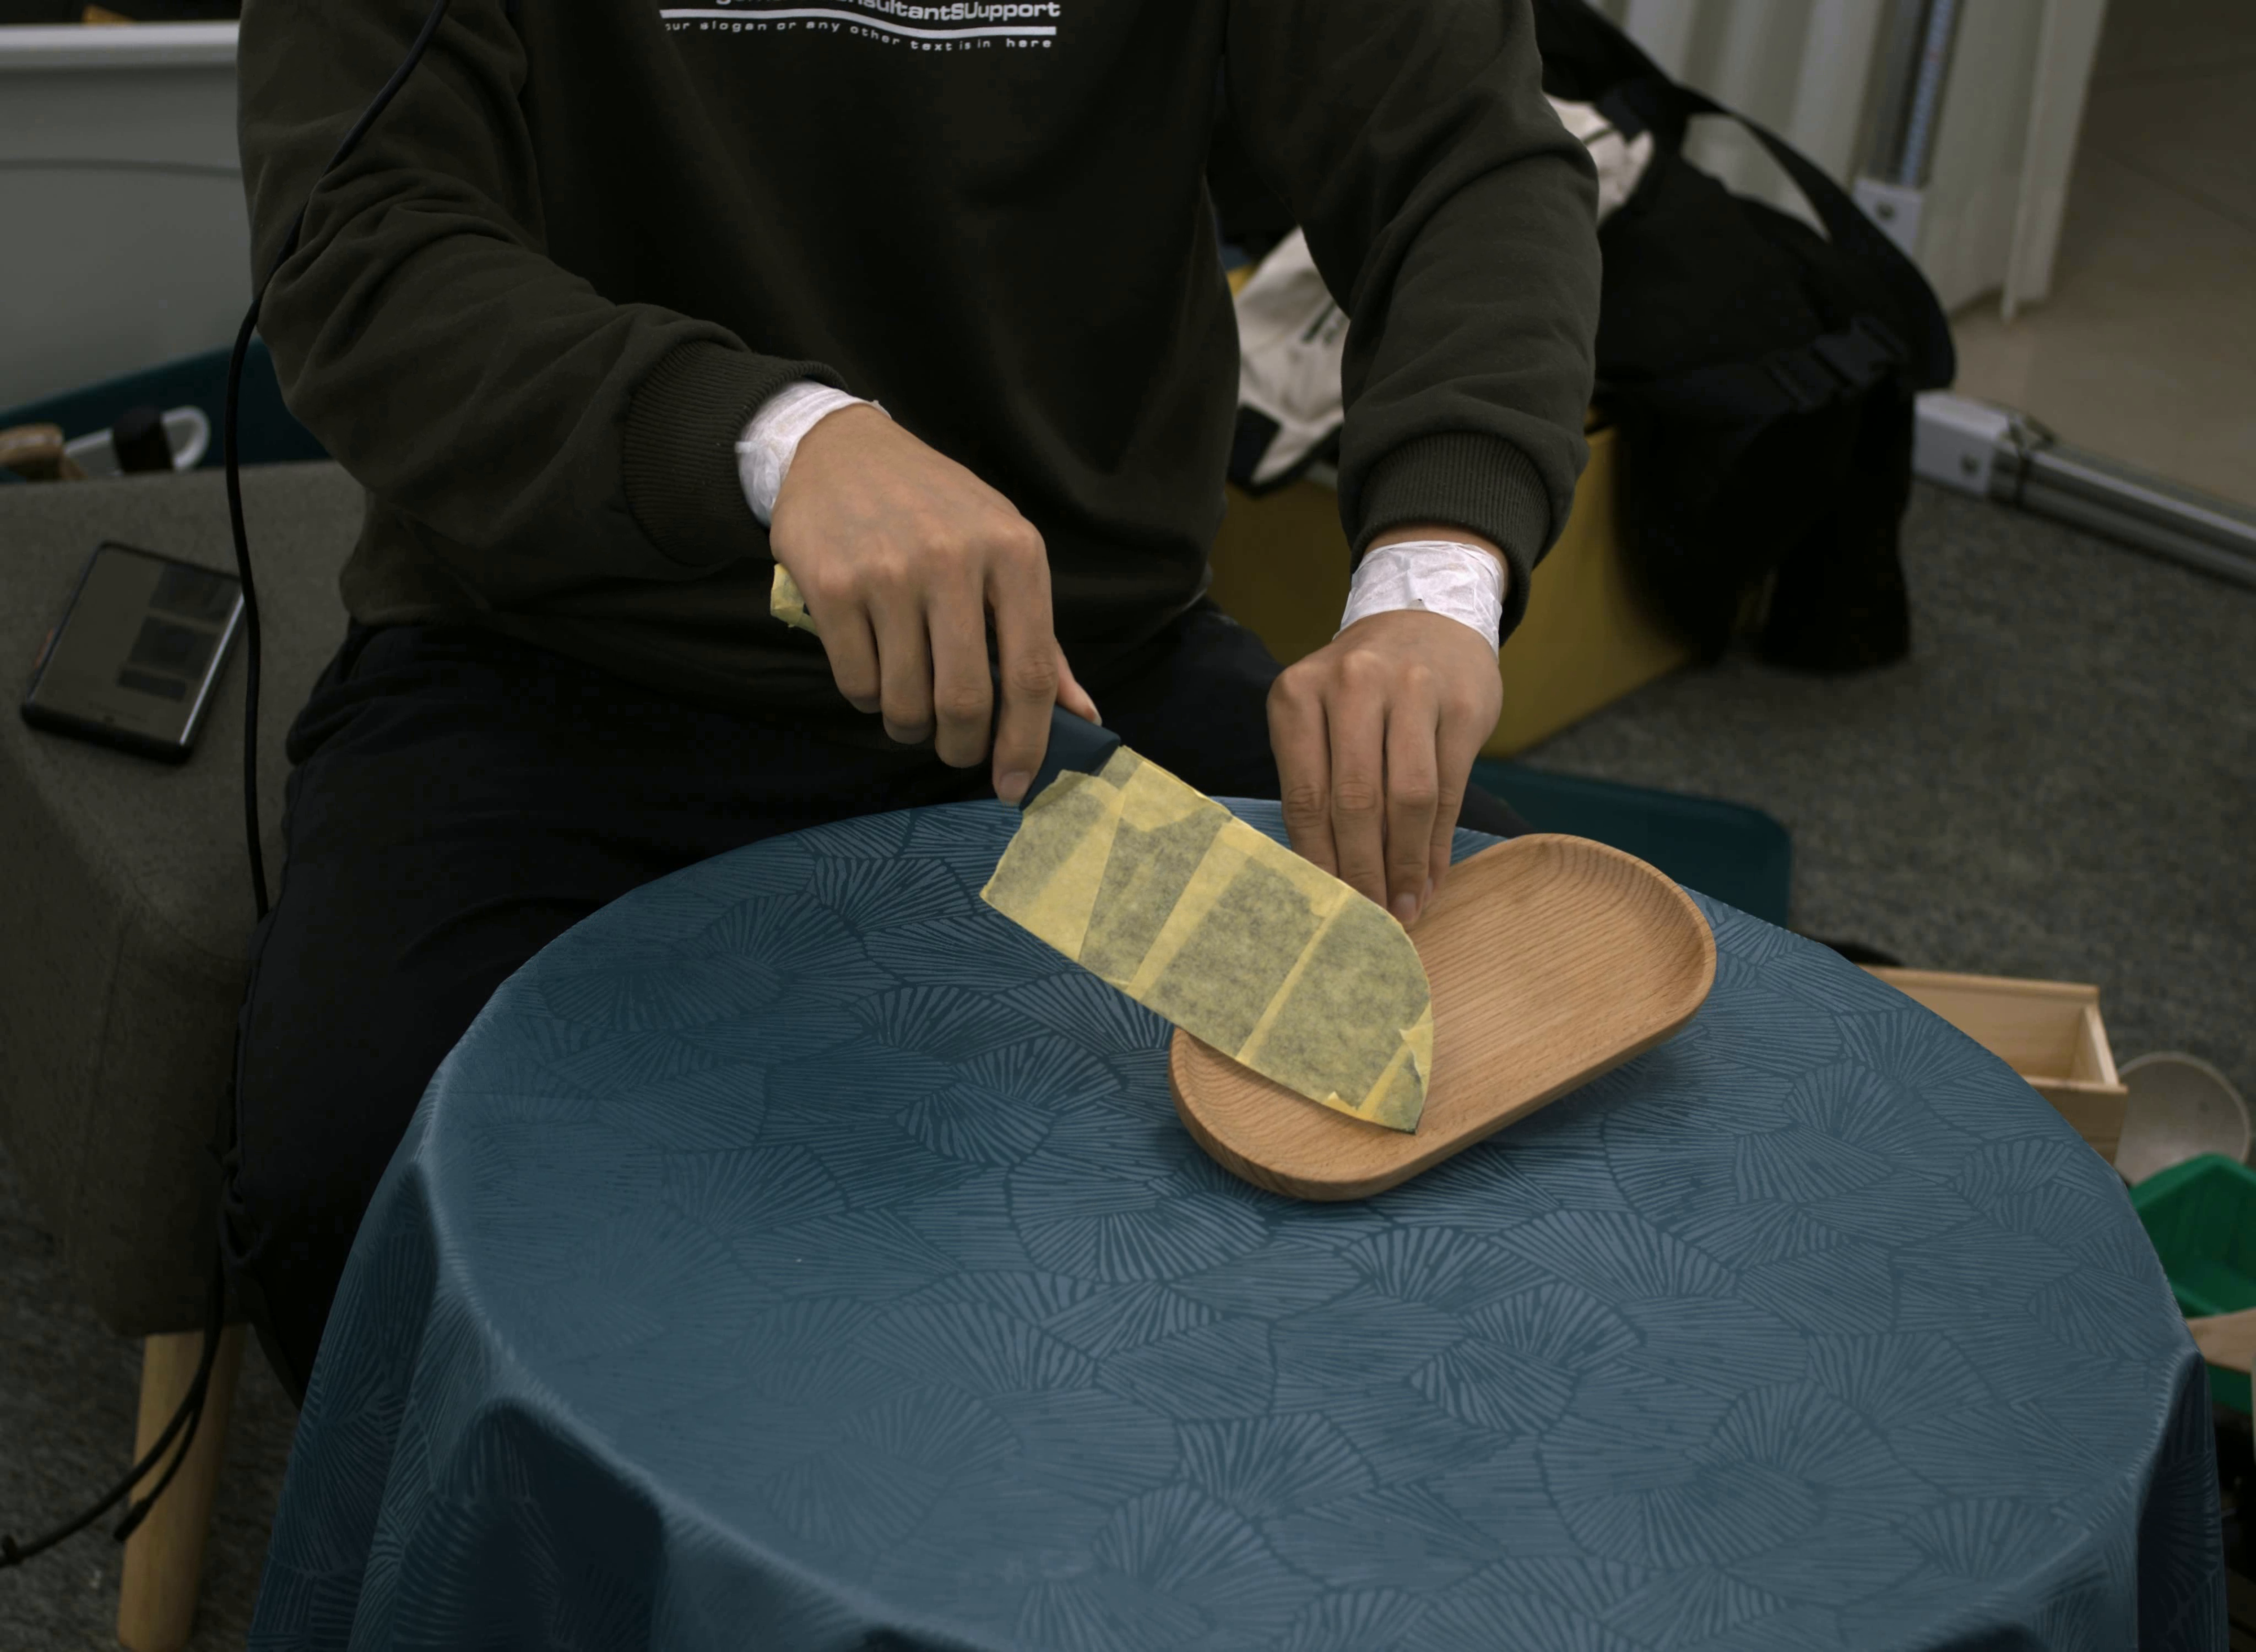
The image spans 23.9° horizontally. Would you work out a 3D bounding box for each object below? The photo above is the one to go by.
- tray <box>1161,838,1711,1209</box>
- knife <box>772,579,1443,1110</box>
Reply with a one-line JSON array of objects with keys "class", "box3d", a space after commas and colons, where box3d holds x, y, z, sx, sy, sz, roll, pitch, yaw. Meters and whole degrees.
[{"class": "tray", "box3d": [0.110, 0.069, 1.875, 0.230, 0.020, 0.102, -26, 55, -33]}, {"class": "knife", "box3d": [-0.012, 0.007, 1.848, 0.290, 0.081, 0.027, 35, -3, 8]}]
